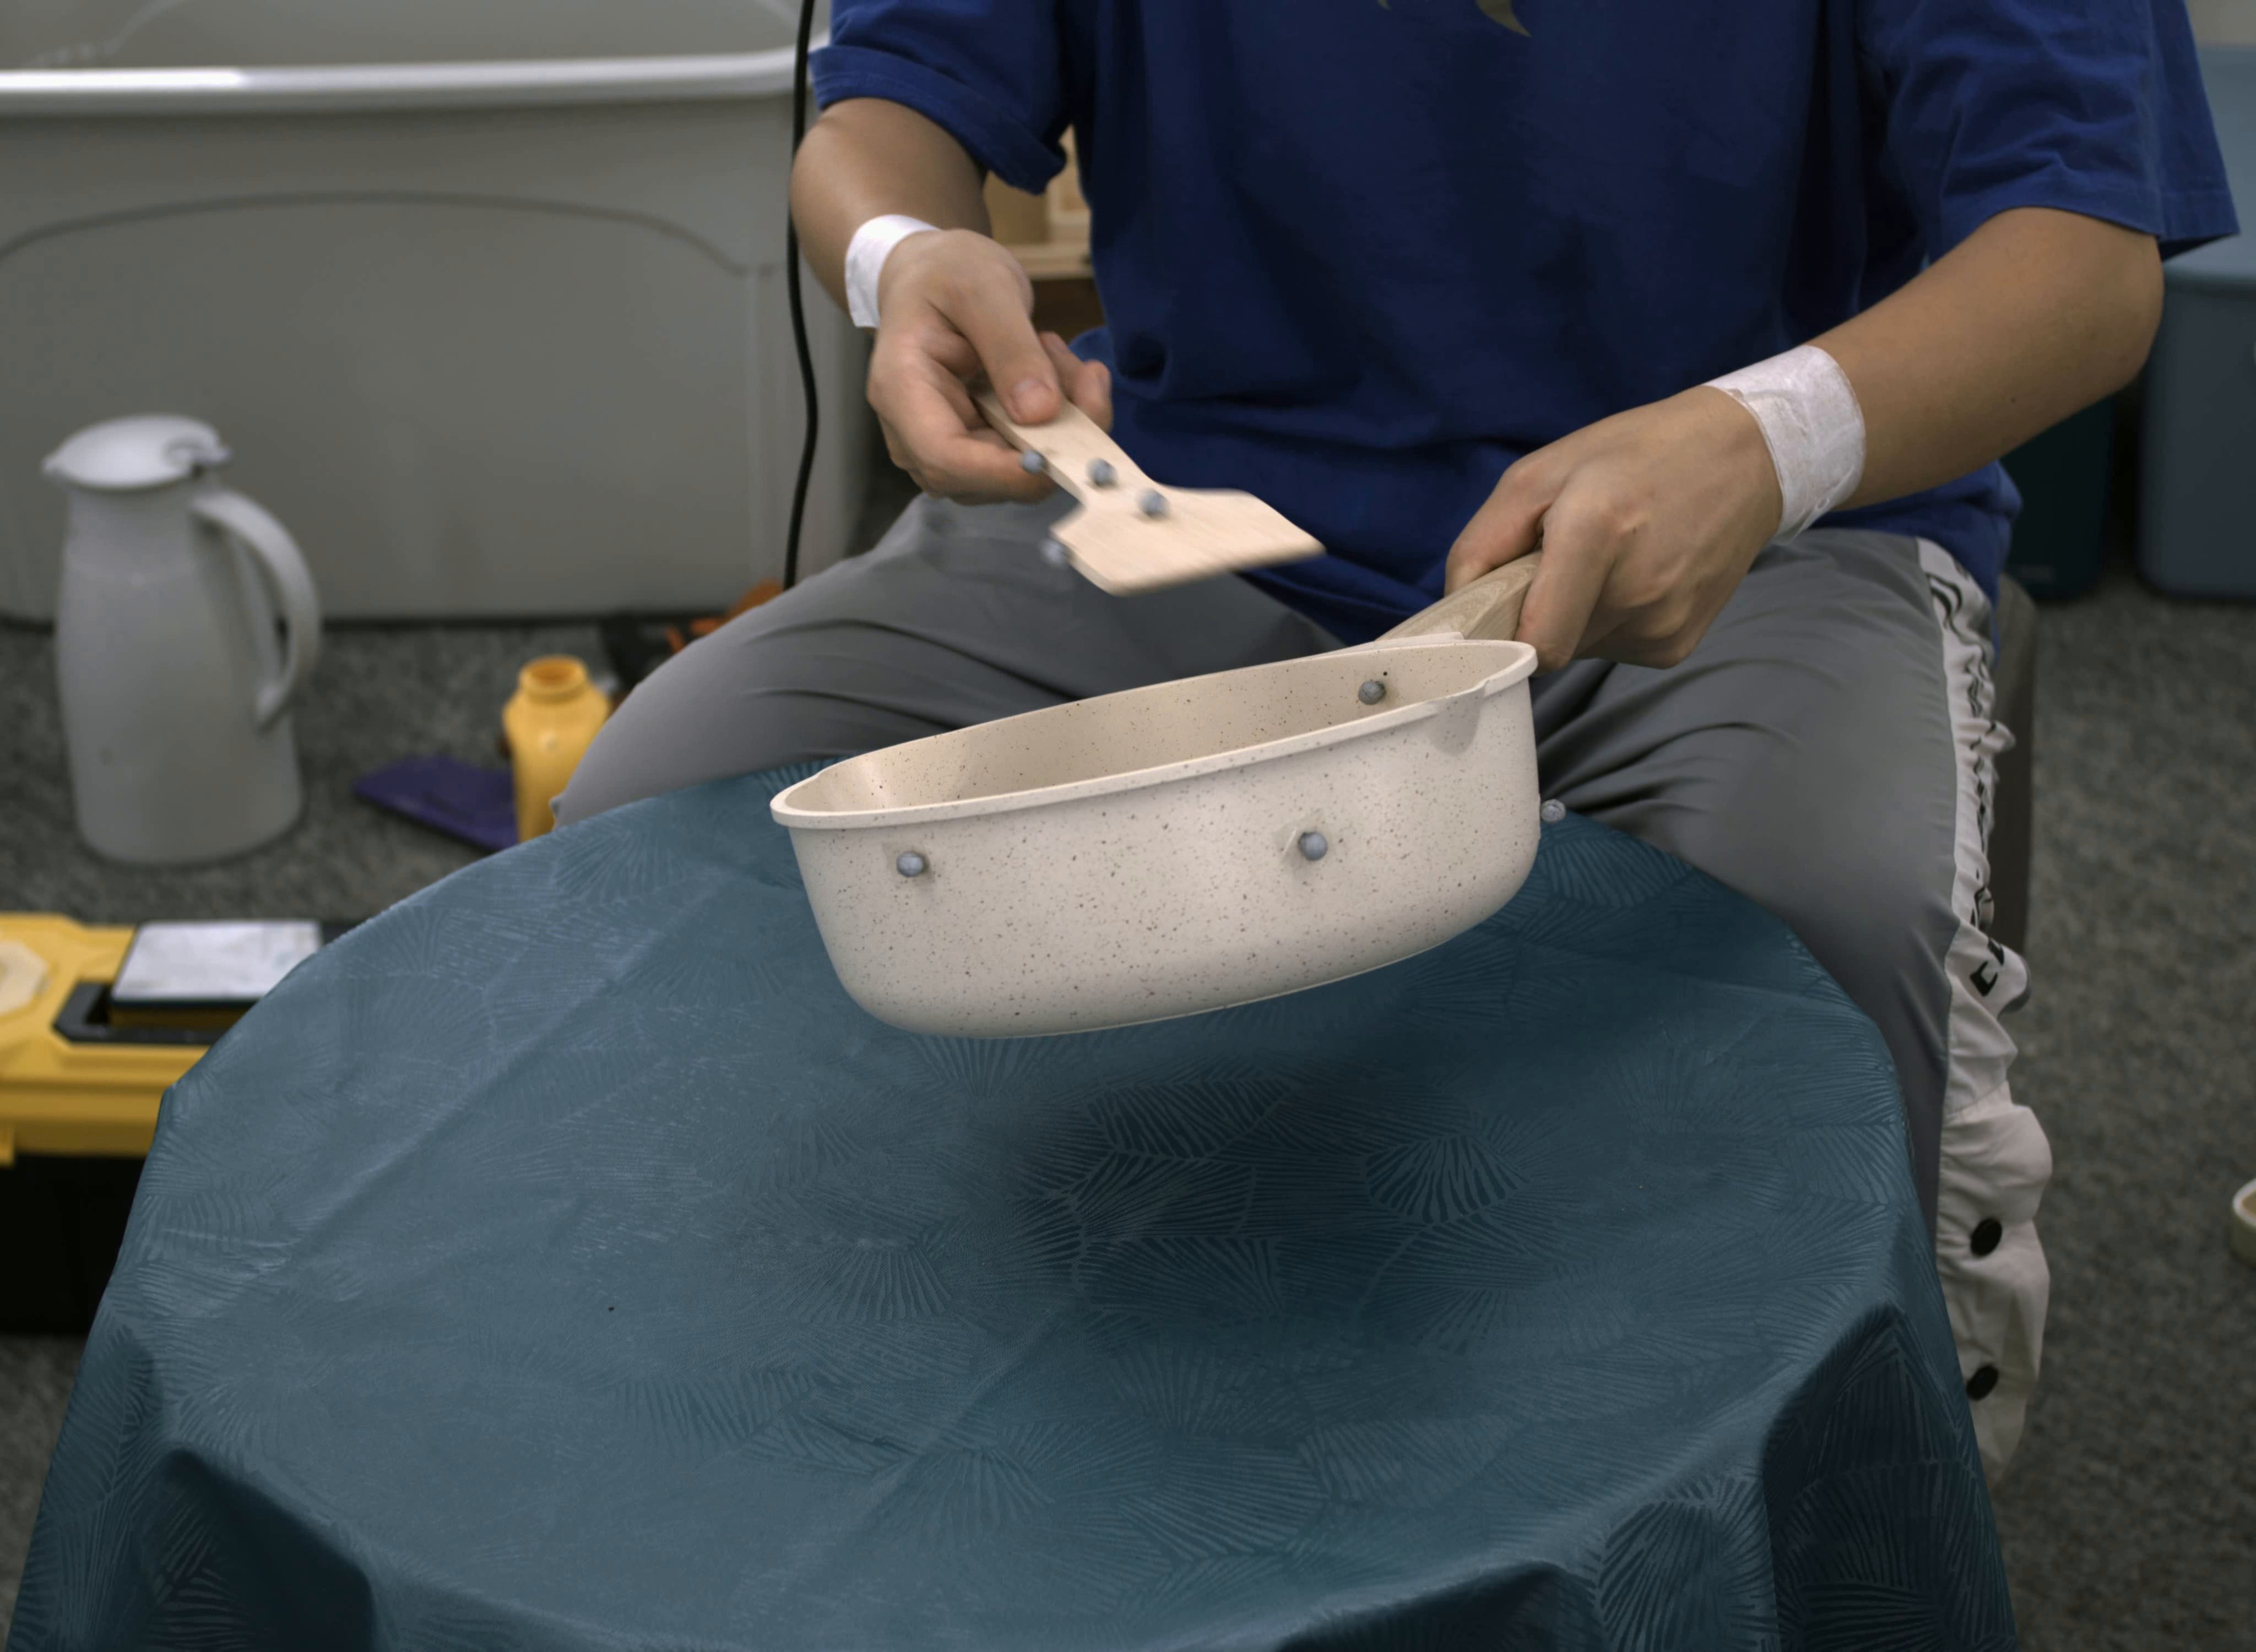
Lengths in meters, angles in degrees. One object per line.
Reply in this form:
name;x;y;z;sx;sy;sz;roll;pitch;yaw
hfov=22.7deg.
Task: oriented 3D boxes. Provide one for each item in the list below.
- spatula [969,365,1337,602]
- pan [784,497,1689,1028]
spatula;-0.007;-0.119;1.922;0.072;0.010;0.294;-12;21;-14
pan;0.074;-0.024;1.880;0.260;0.102;0.439;-8;7;40
